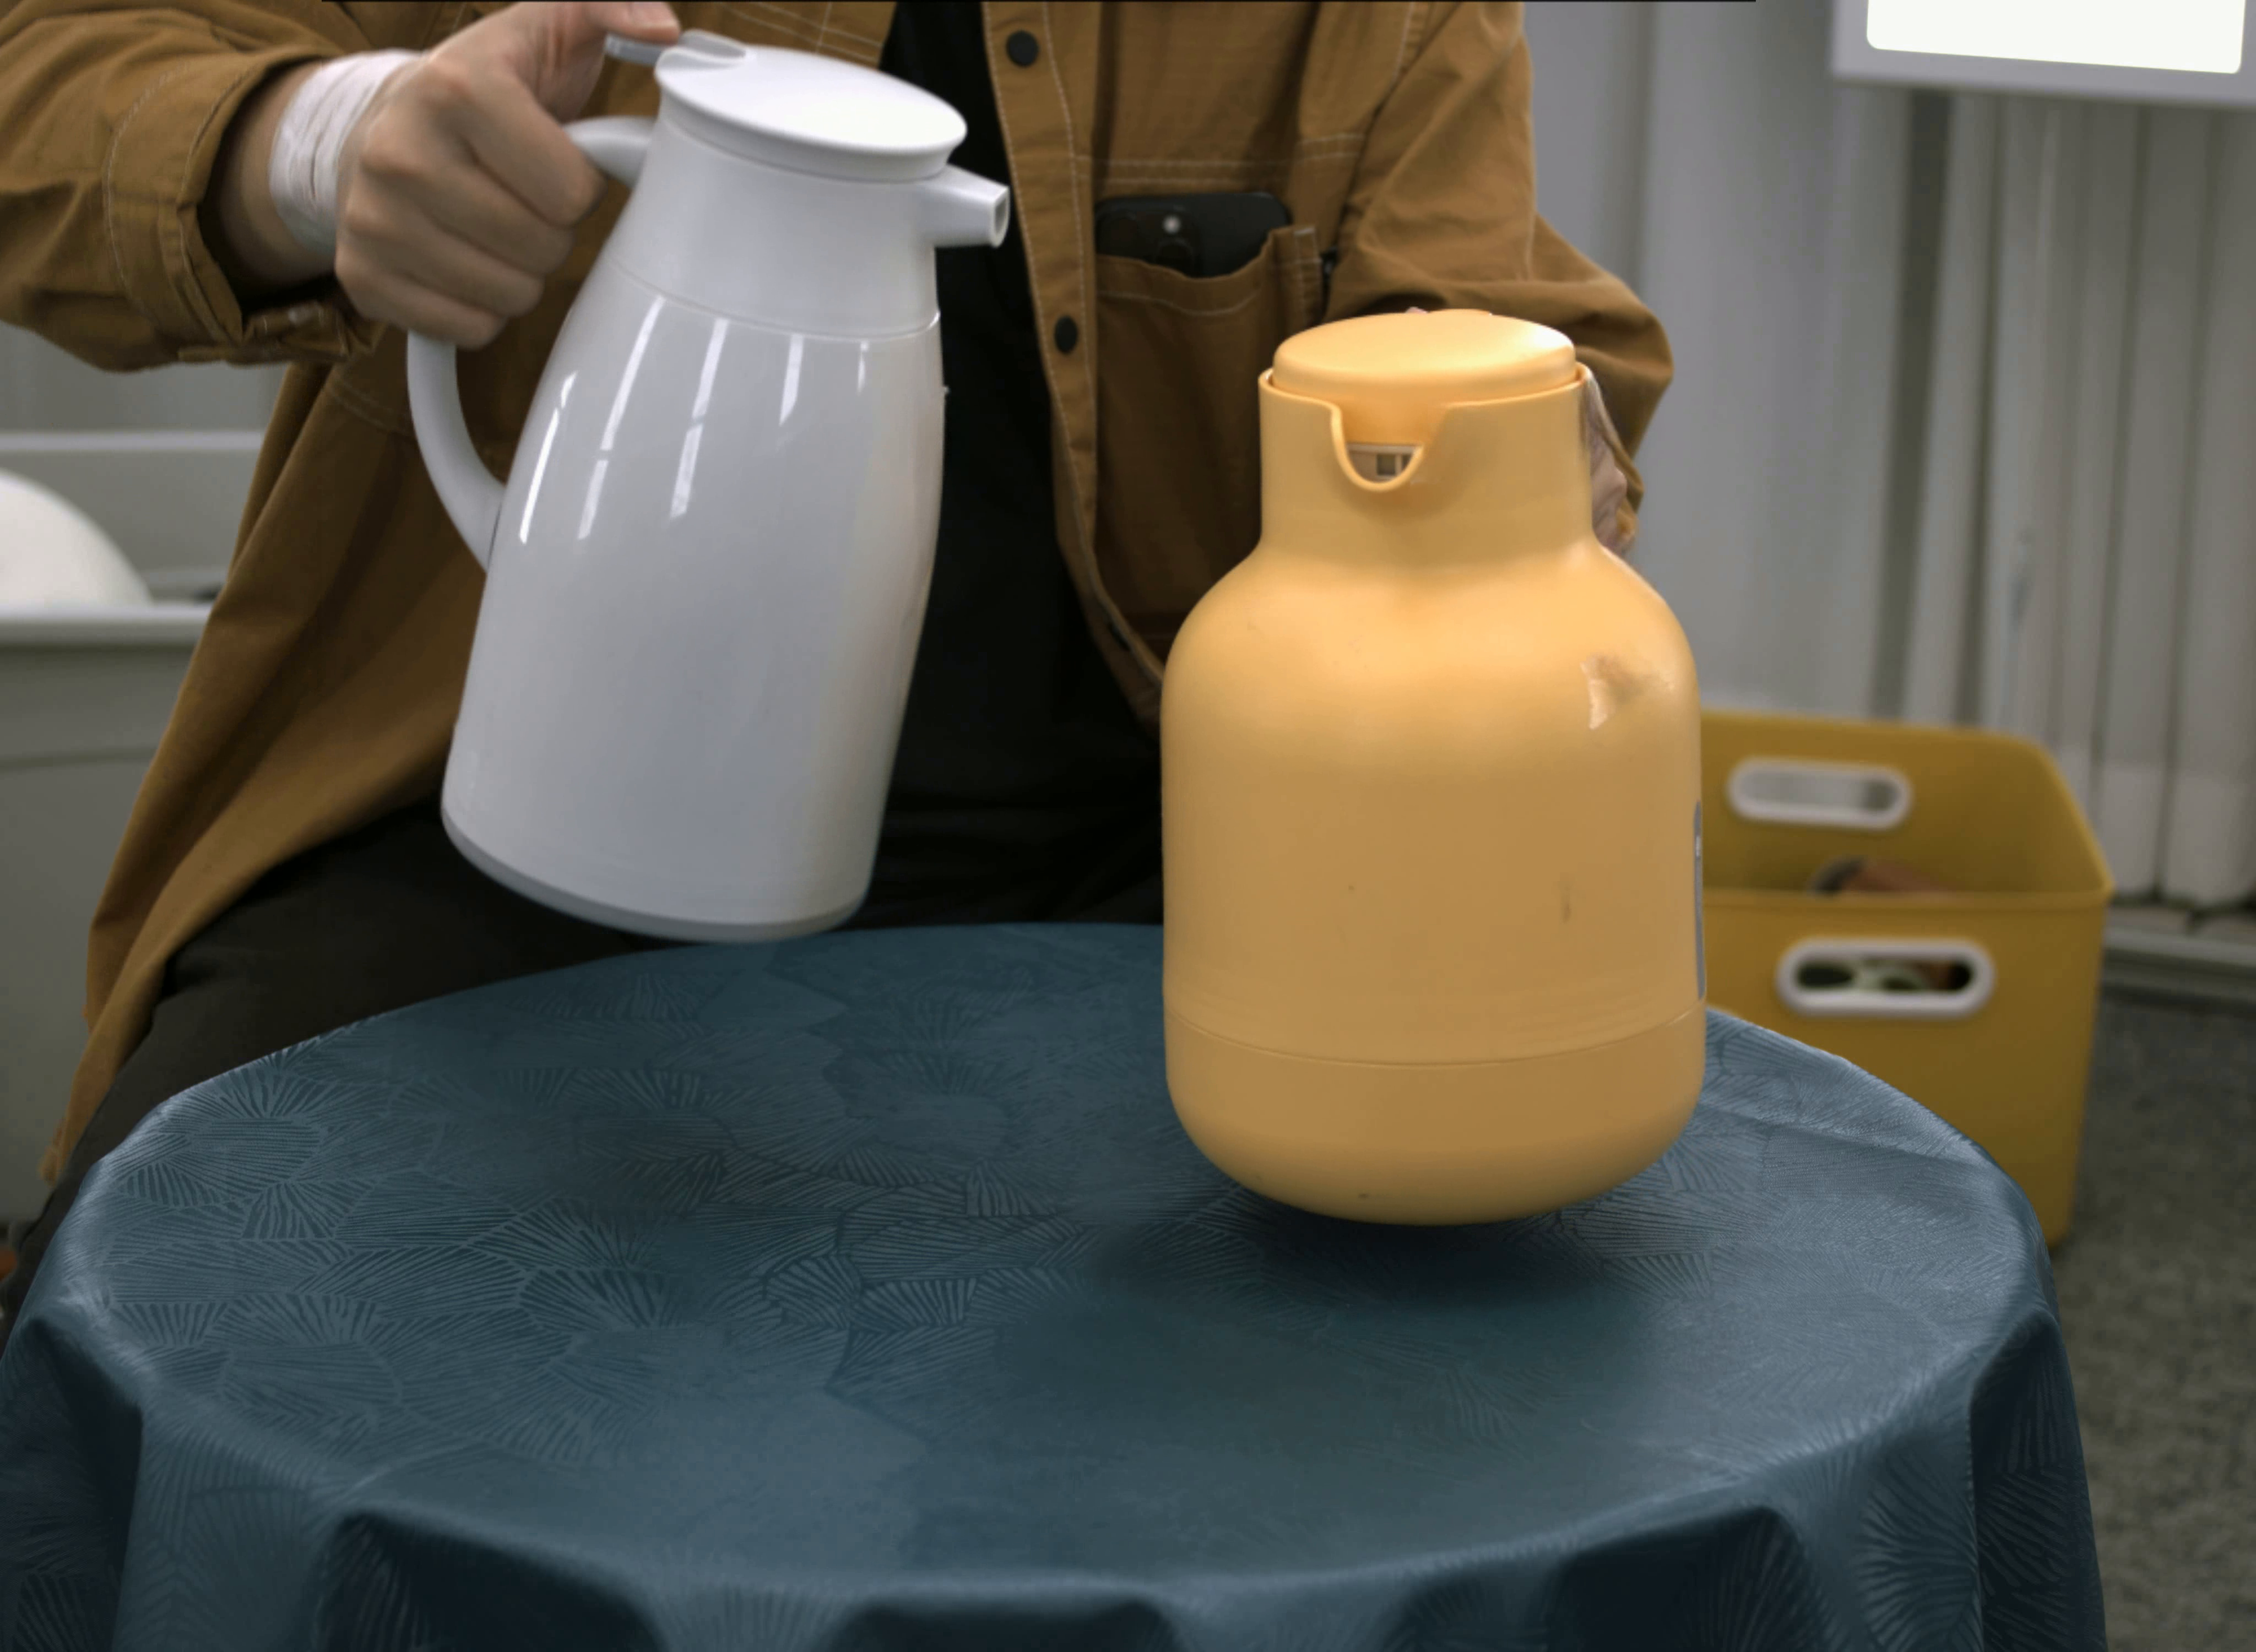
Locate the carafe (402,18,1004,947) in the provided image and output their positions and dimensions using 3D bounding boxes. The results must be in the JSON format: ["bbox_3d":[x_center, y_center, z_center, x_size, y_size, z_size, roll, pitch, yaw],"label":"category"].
[{"bbox_3d":[-0.135,-0.108,1.544,0.167,0.250,0.132,15,21,6],"label":"carafe"}]

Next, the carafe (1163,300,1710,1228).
[{"bbox_3d":[0.097,-0.026,1.576,0.162,0.263,0.202,4,18,15],"label":"carafe"}]
